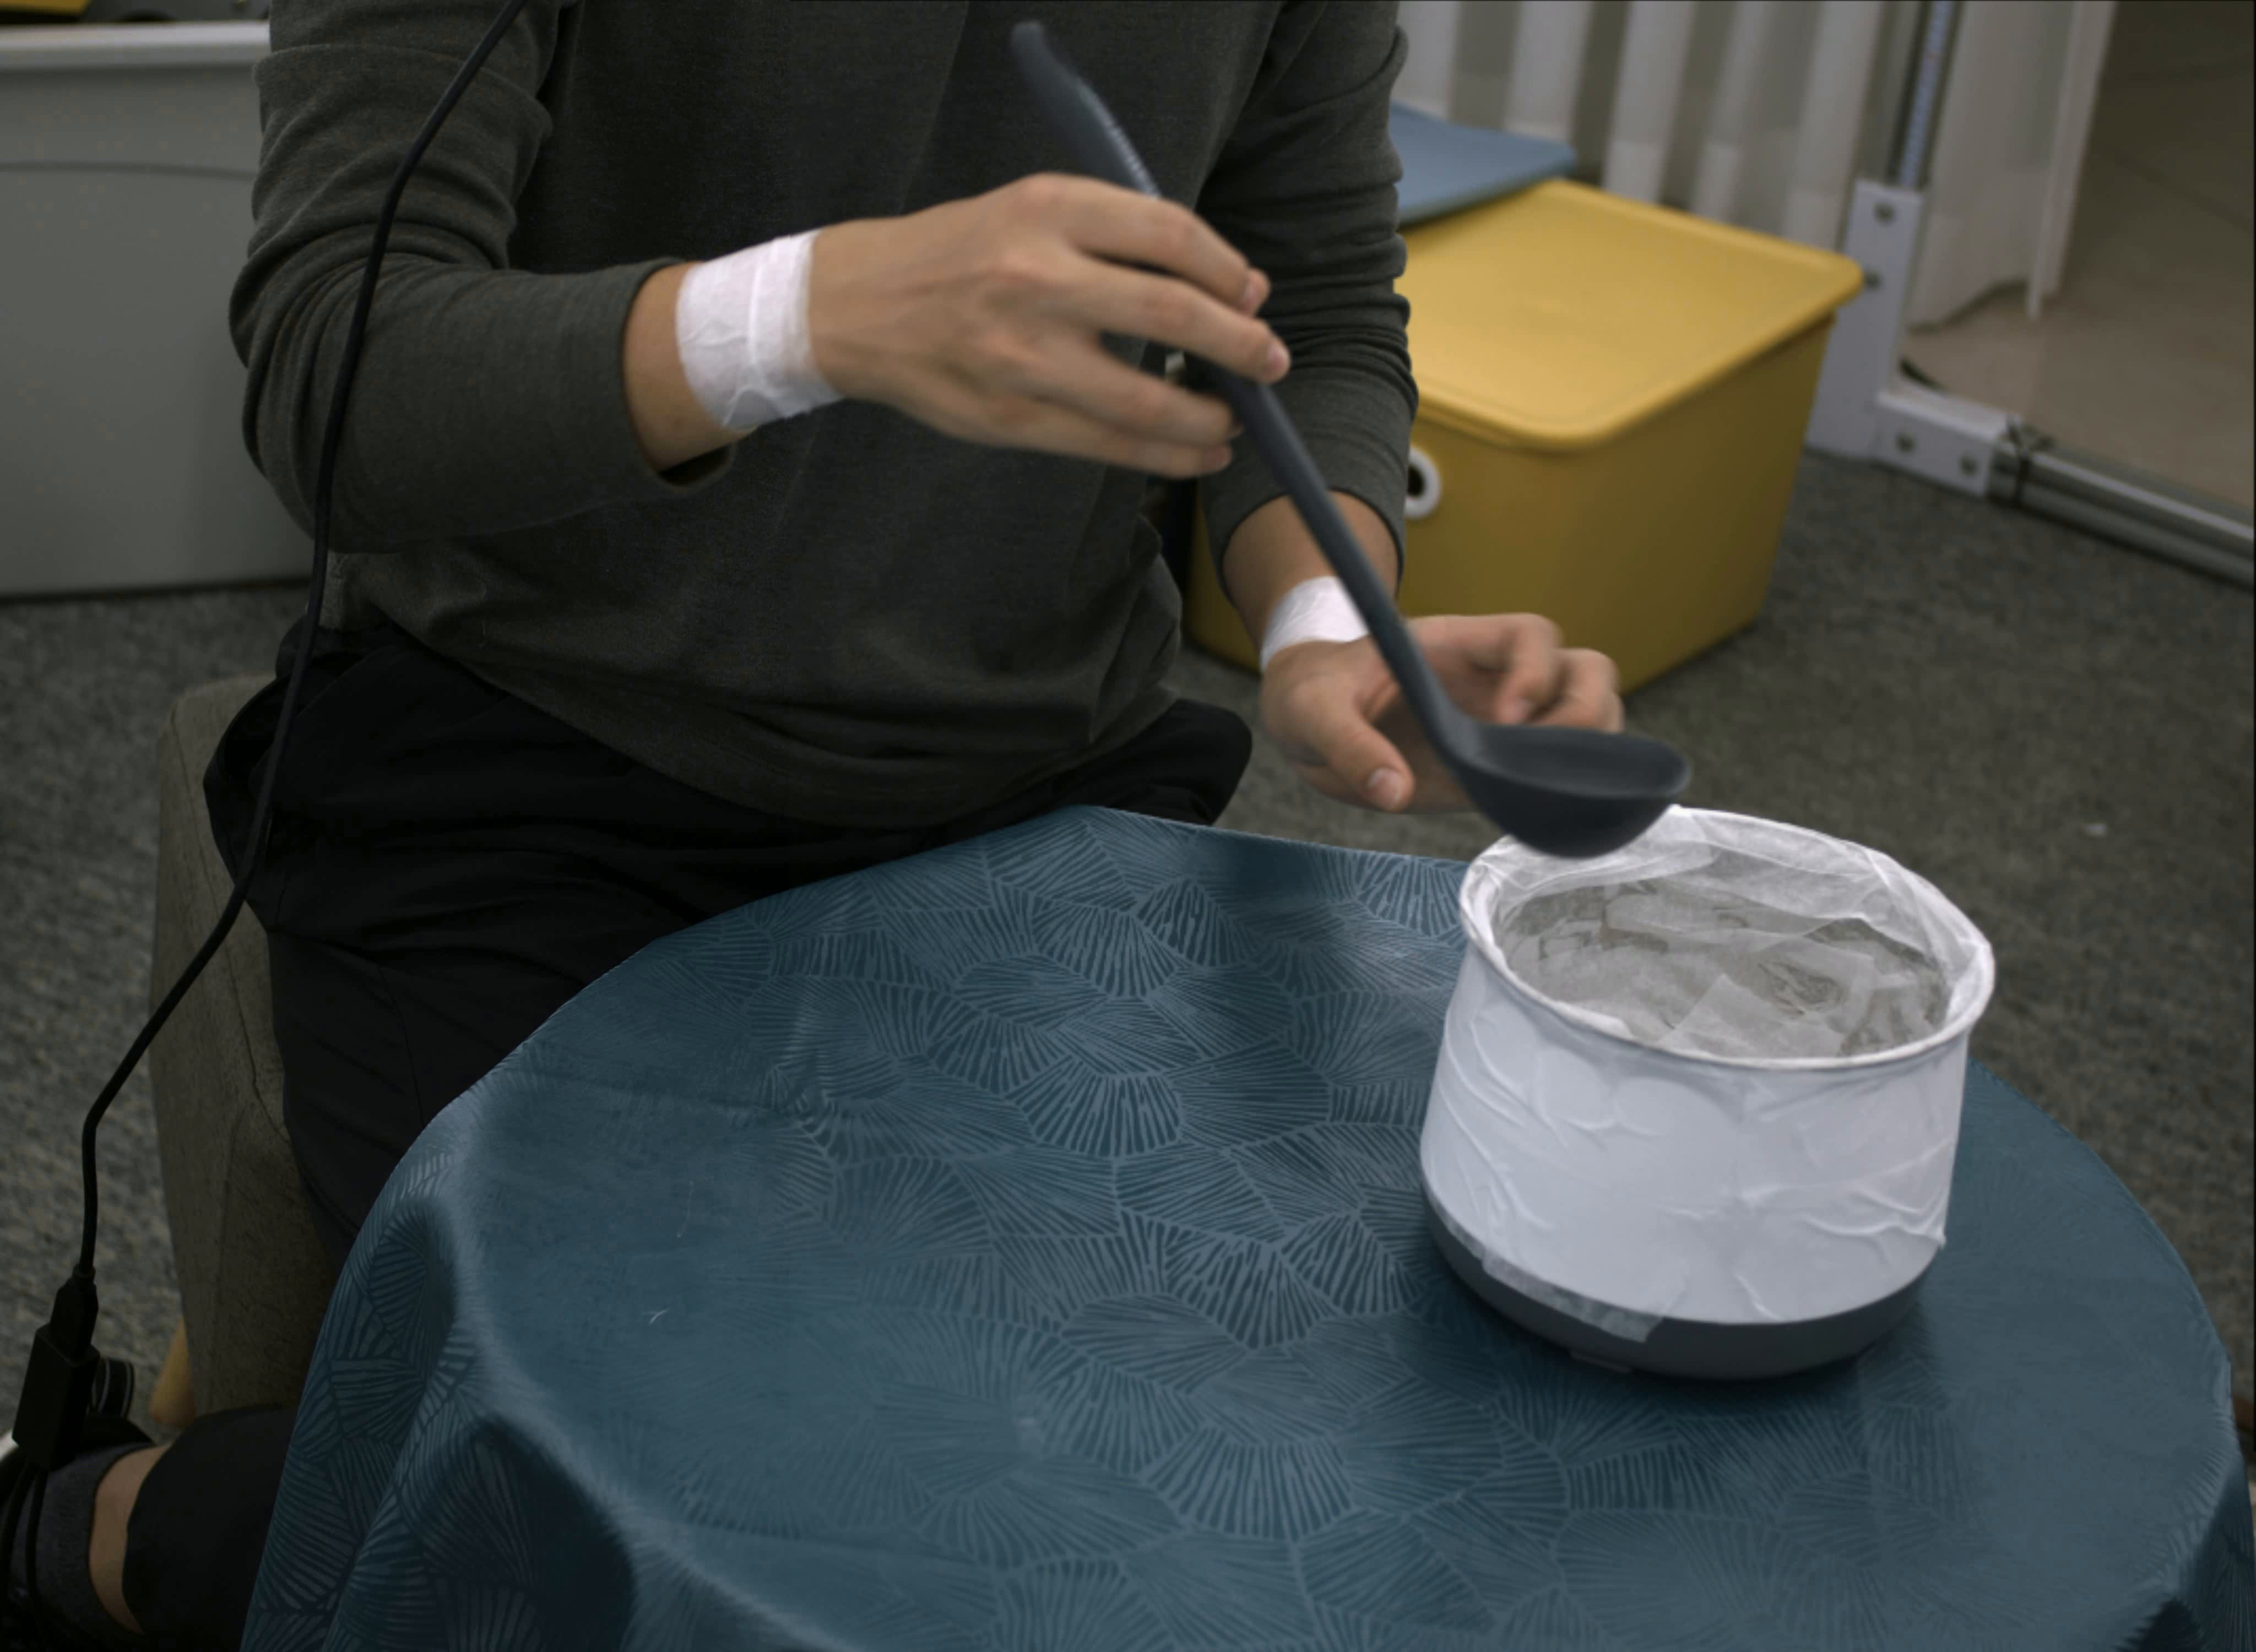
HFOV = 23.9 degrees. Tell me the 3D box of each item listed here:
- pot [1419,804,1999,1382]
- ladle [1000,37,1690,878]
[{"bbox_3d":[0.178,0.077,1.786,0.177,0.136,0.236,-5,29,-23],"label":"pot"},{"bbox_3d":[0.065,-0.120,1.630,0.064,0.314,0.086,-32,1,16],"label":"ladle"}]
